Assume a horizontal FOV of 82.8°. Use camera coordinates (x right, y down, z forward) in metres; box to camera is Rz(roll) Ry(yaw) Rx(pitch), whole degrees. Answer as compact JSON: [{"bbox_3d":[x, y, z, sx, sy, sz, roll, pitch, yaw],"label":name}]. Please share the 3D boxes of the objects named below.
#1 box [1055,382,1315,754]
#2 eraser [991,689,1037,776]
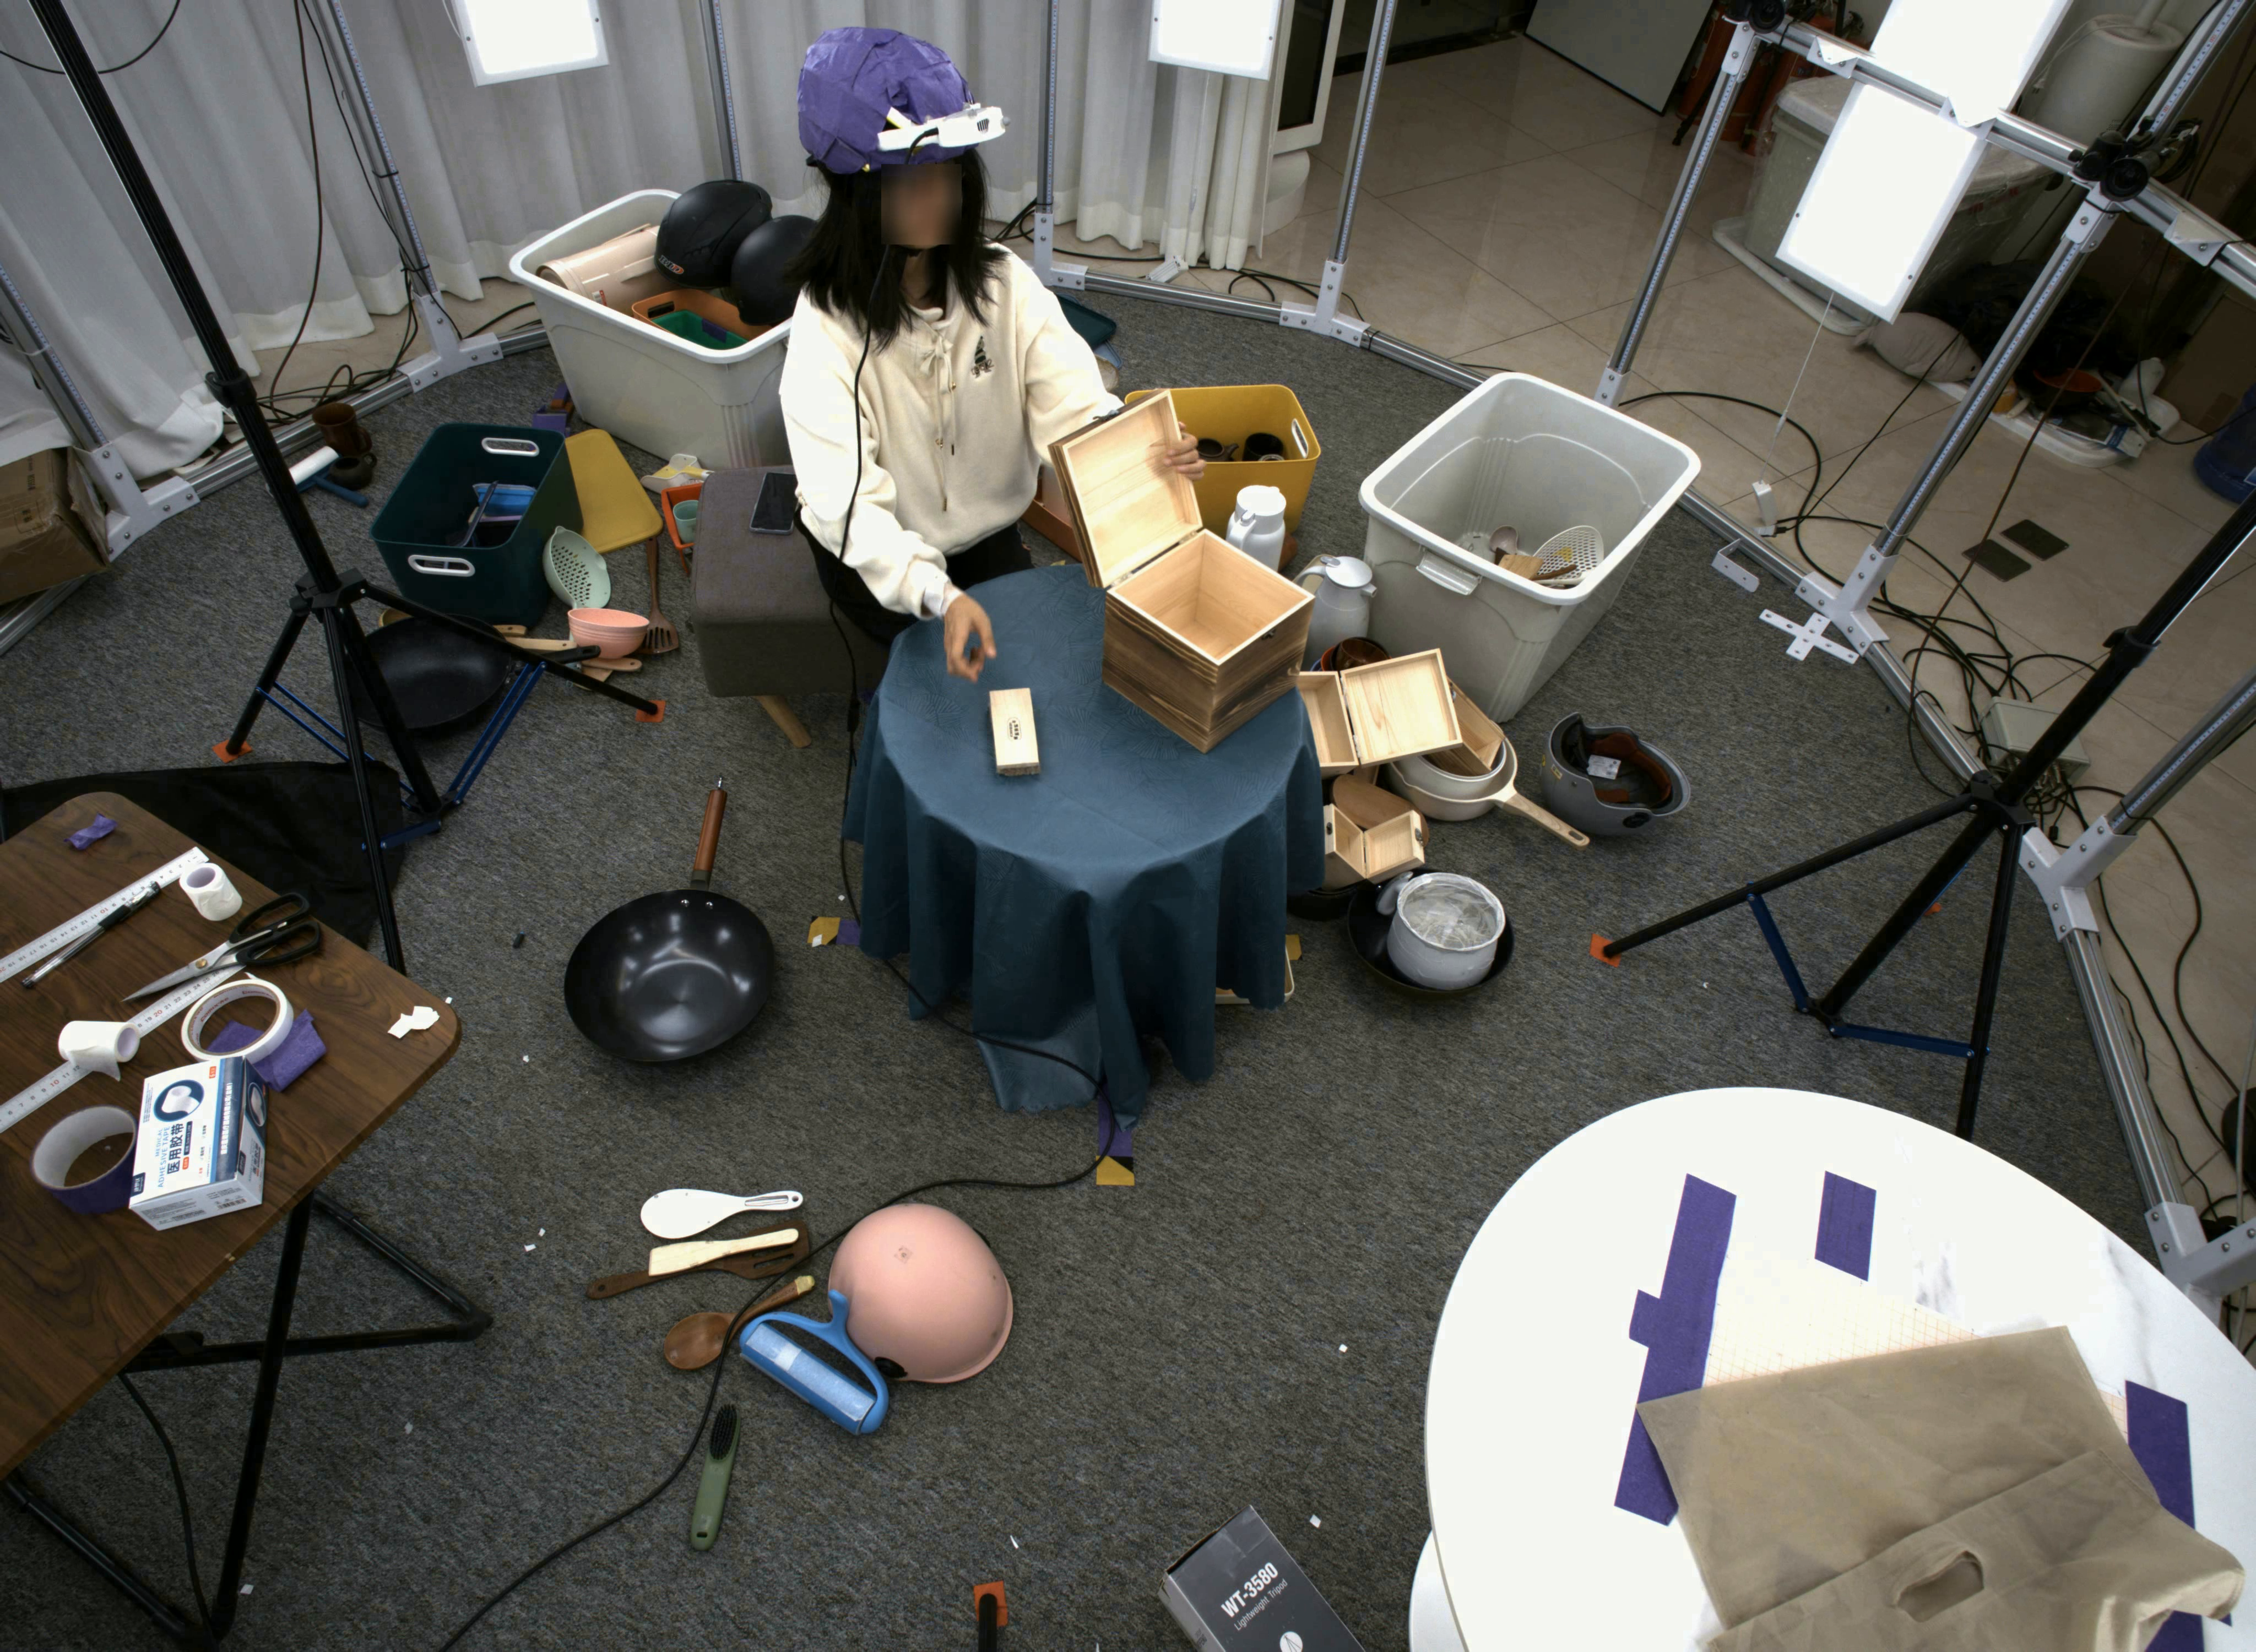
[{"bbox_3d":[0.075,-0.349,1.741,0.326,0.366,0.211,38,58,24],"label":"box"},{"bbox_3d":[-0.156,-0.128,1.752,0.057,0.028,0.143,-4,49,-5],"label":"eraser"}]
